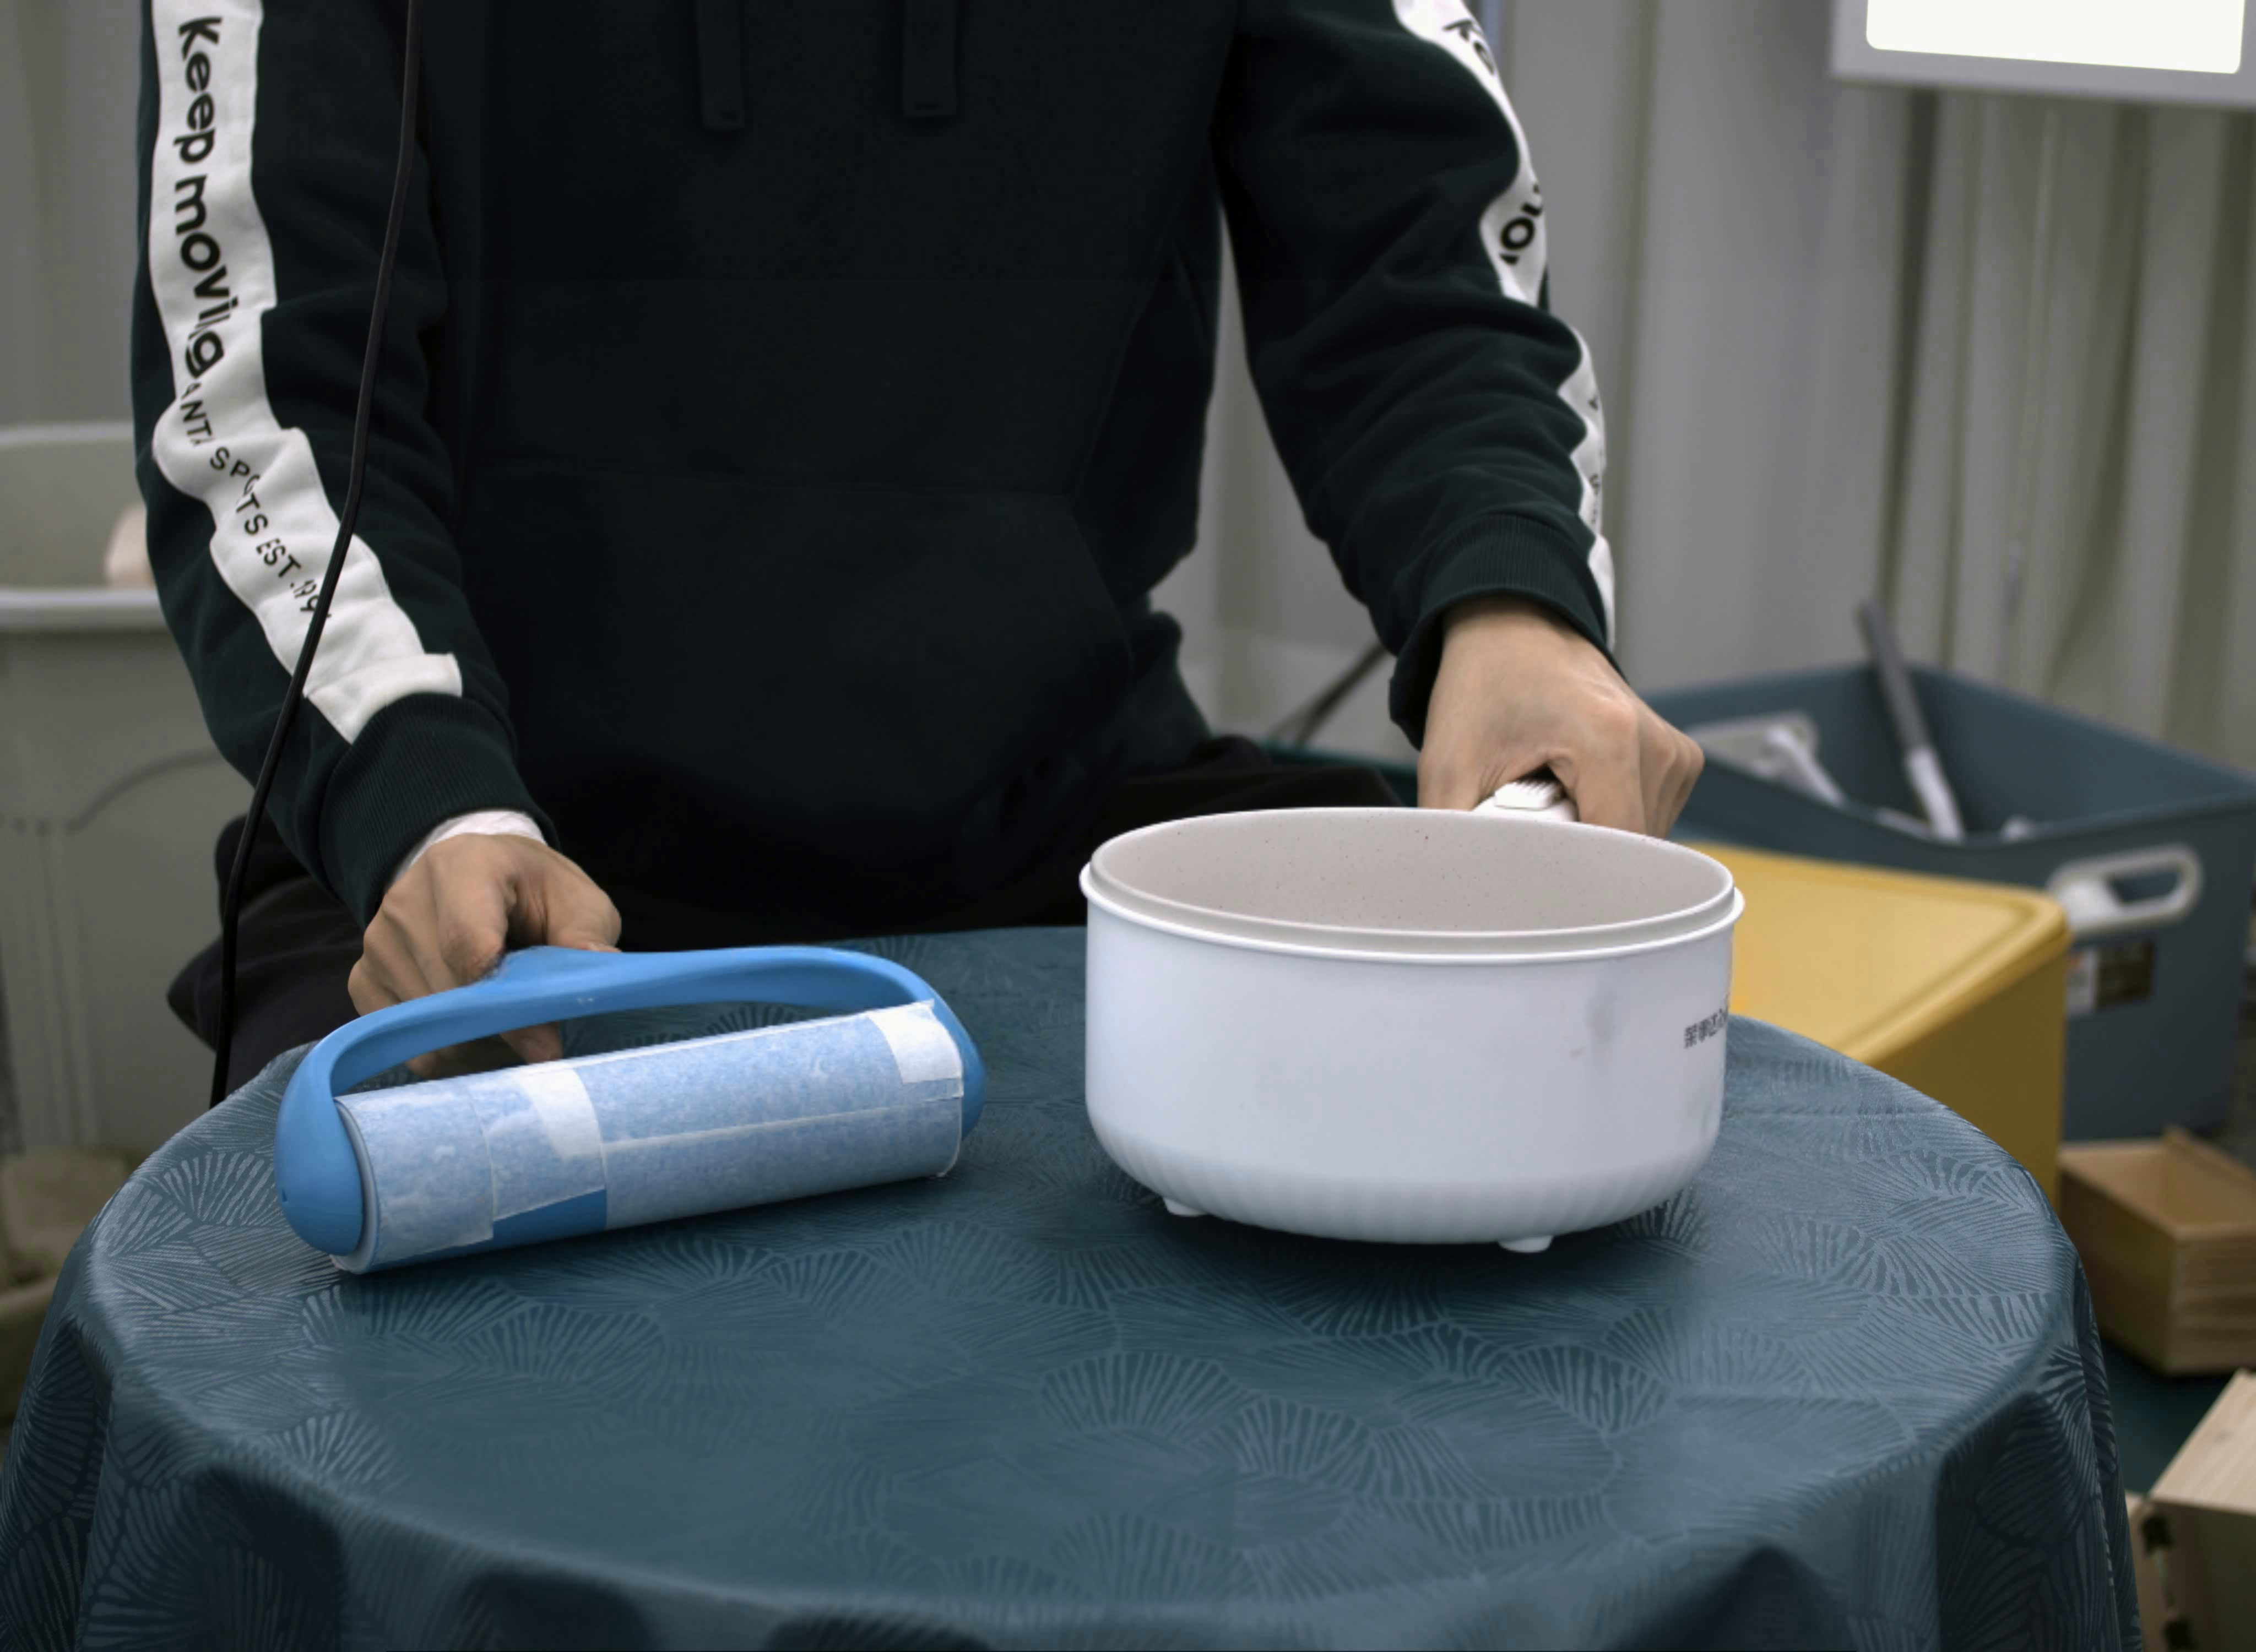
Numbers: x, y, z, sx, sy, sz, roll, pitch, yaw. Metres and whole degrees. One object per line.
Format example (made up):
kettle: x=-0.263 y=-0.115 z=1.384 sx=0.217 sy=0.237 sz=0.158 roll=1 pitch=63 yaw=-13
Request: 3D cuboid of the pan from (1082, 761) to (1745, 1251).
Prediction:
pan: x=0.107 y=0.051 z=1.670 sx=0.199 sy=0.103 sz=0.355 roll=4 pitch=10 yaw=17

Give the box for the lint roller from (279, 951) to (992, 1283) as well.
lint roller: x=-0.175 y=0.072 z=1.626 sx=0.230 sy=0.068 sz=0.178 roll=-11 pitch=27 yaw=-30
